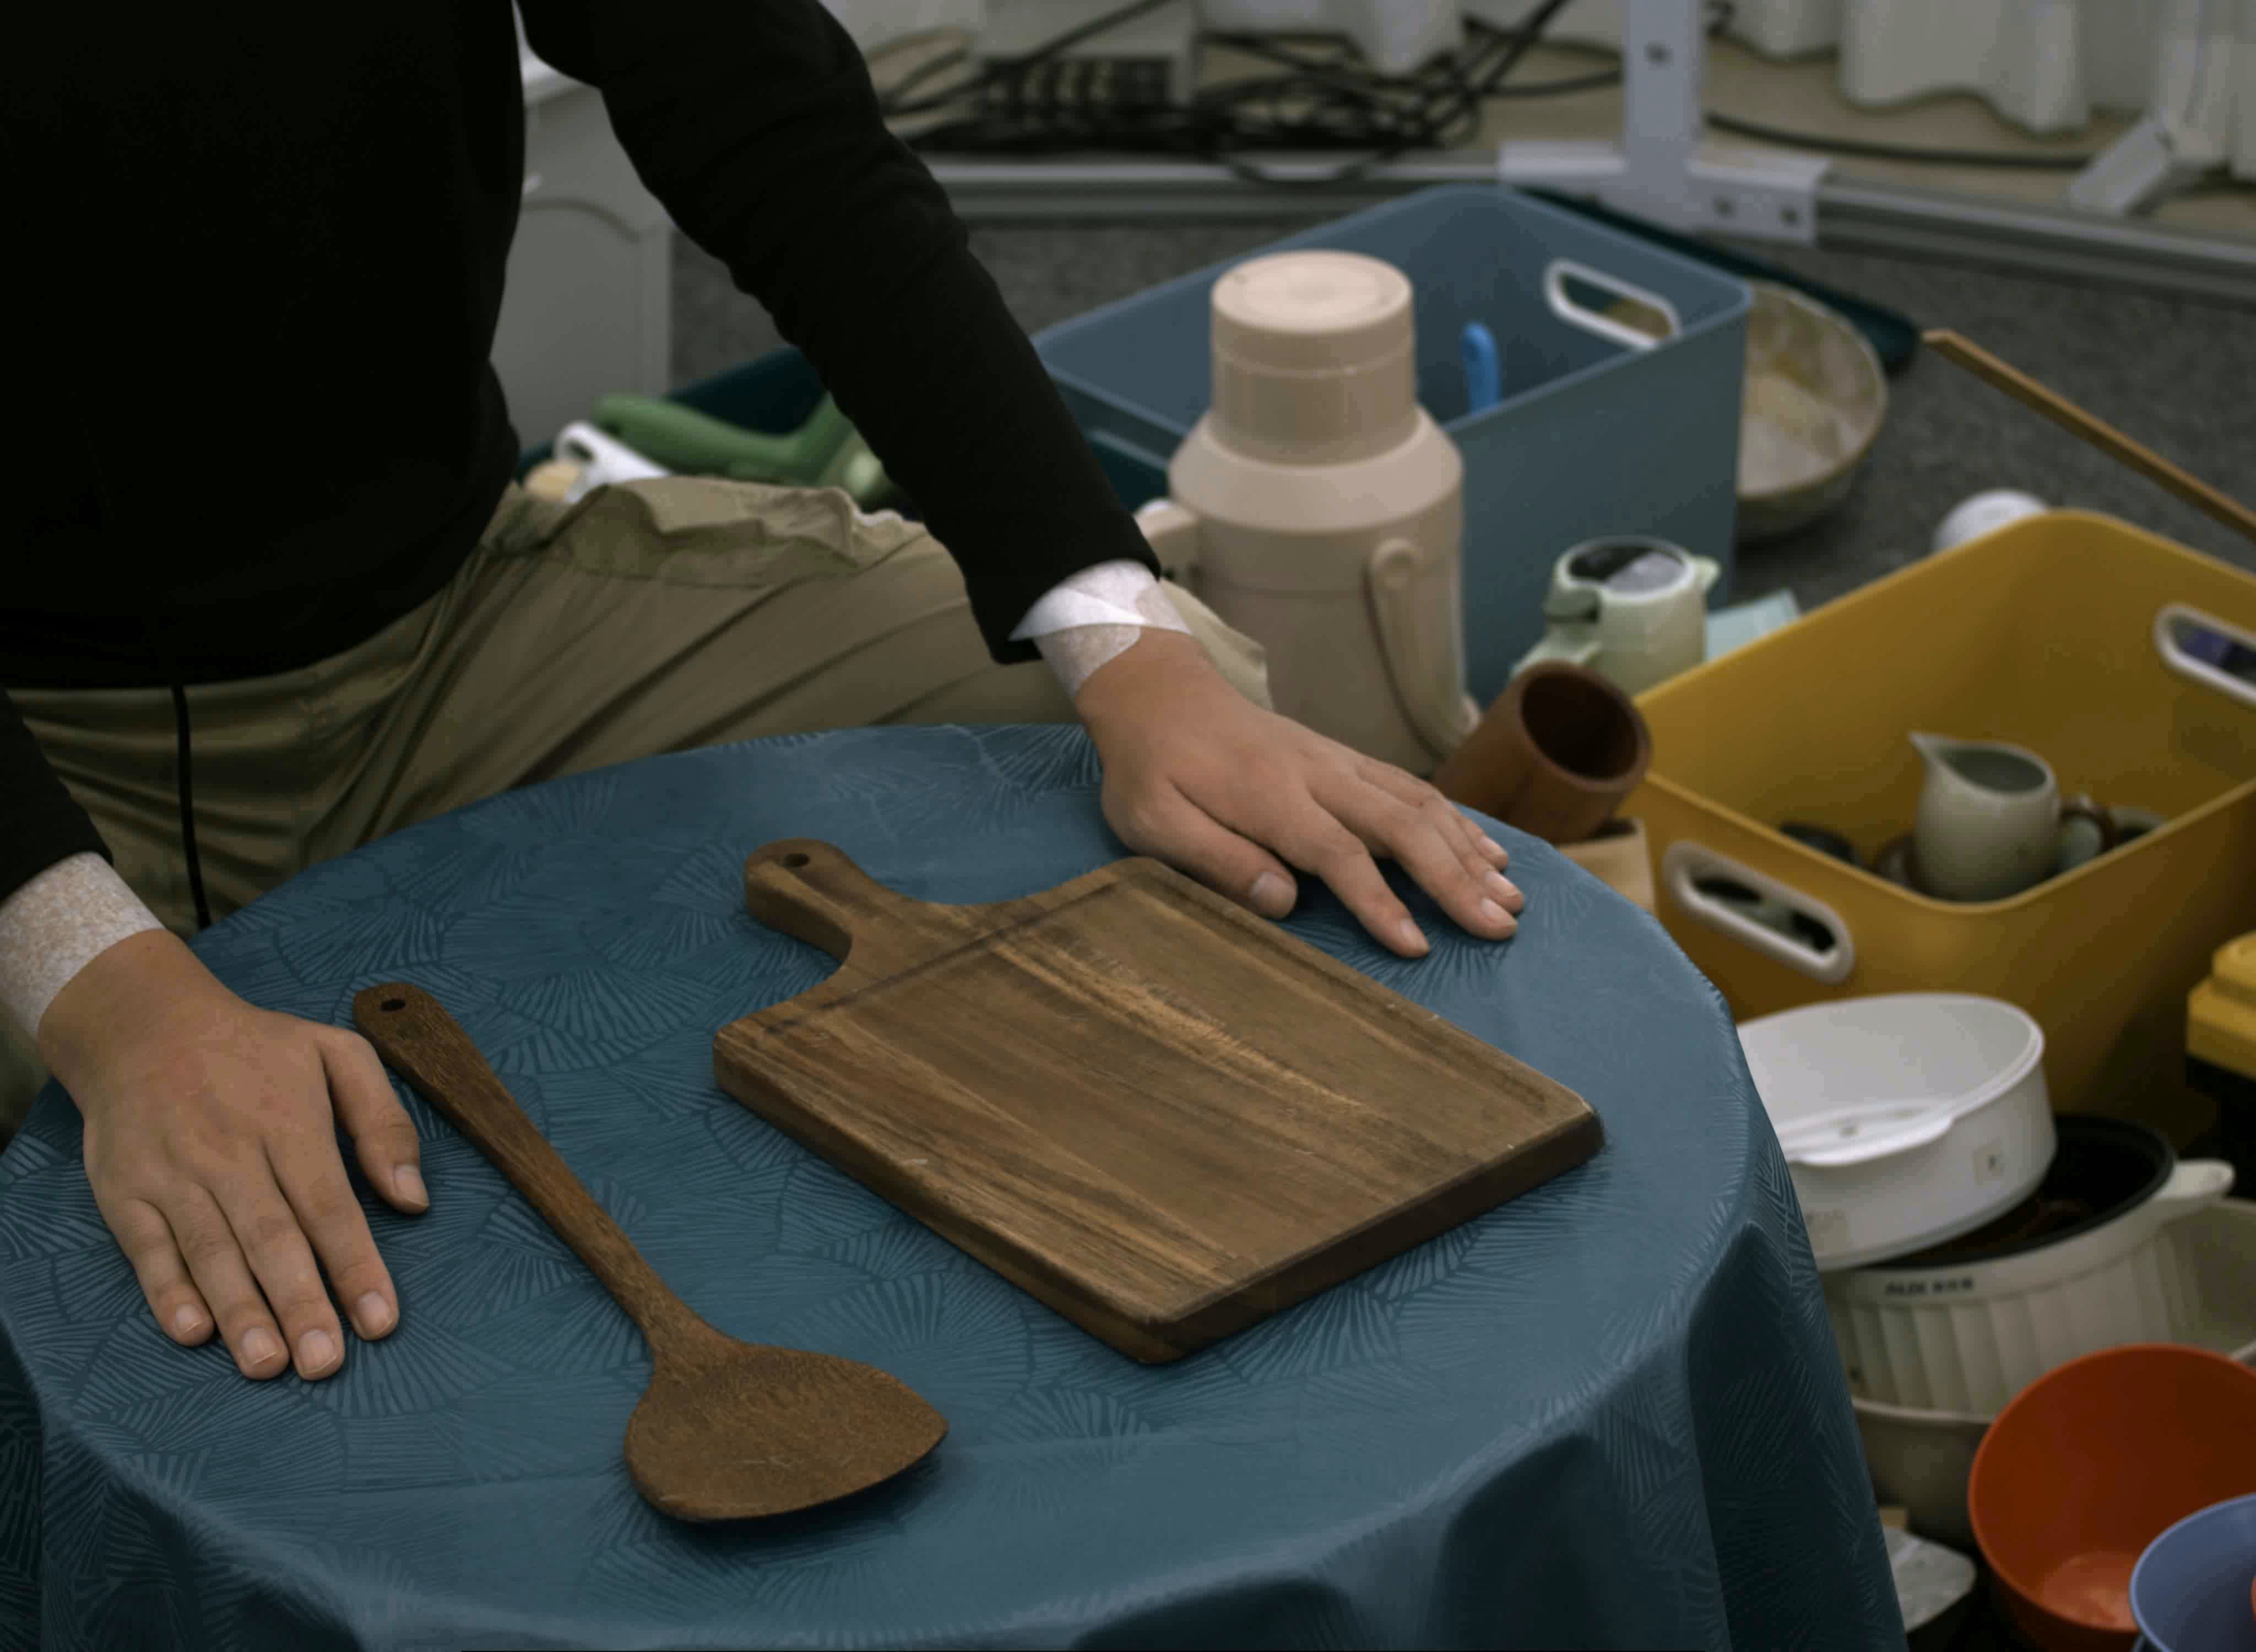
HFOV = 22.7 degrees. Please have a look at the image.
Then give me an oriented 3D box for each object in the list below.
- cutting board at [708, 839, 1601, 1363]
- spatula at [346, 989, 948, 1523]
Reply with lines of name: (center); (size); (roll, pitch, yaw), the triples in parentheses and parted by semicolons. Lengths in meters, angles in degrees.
cutting board: (-0.024, 0.073, 1.934); (0.203, 0.023, 0.352); (-22, 33, -33)
spatula: (-0.179, 0.132, 1.843); (0.096, 0.015, 0.388); (-16, 30, -24)
